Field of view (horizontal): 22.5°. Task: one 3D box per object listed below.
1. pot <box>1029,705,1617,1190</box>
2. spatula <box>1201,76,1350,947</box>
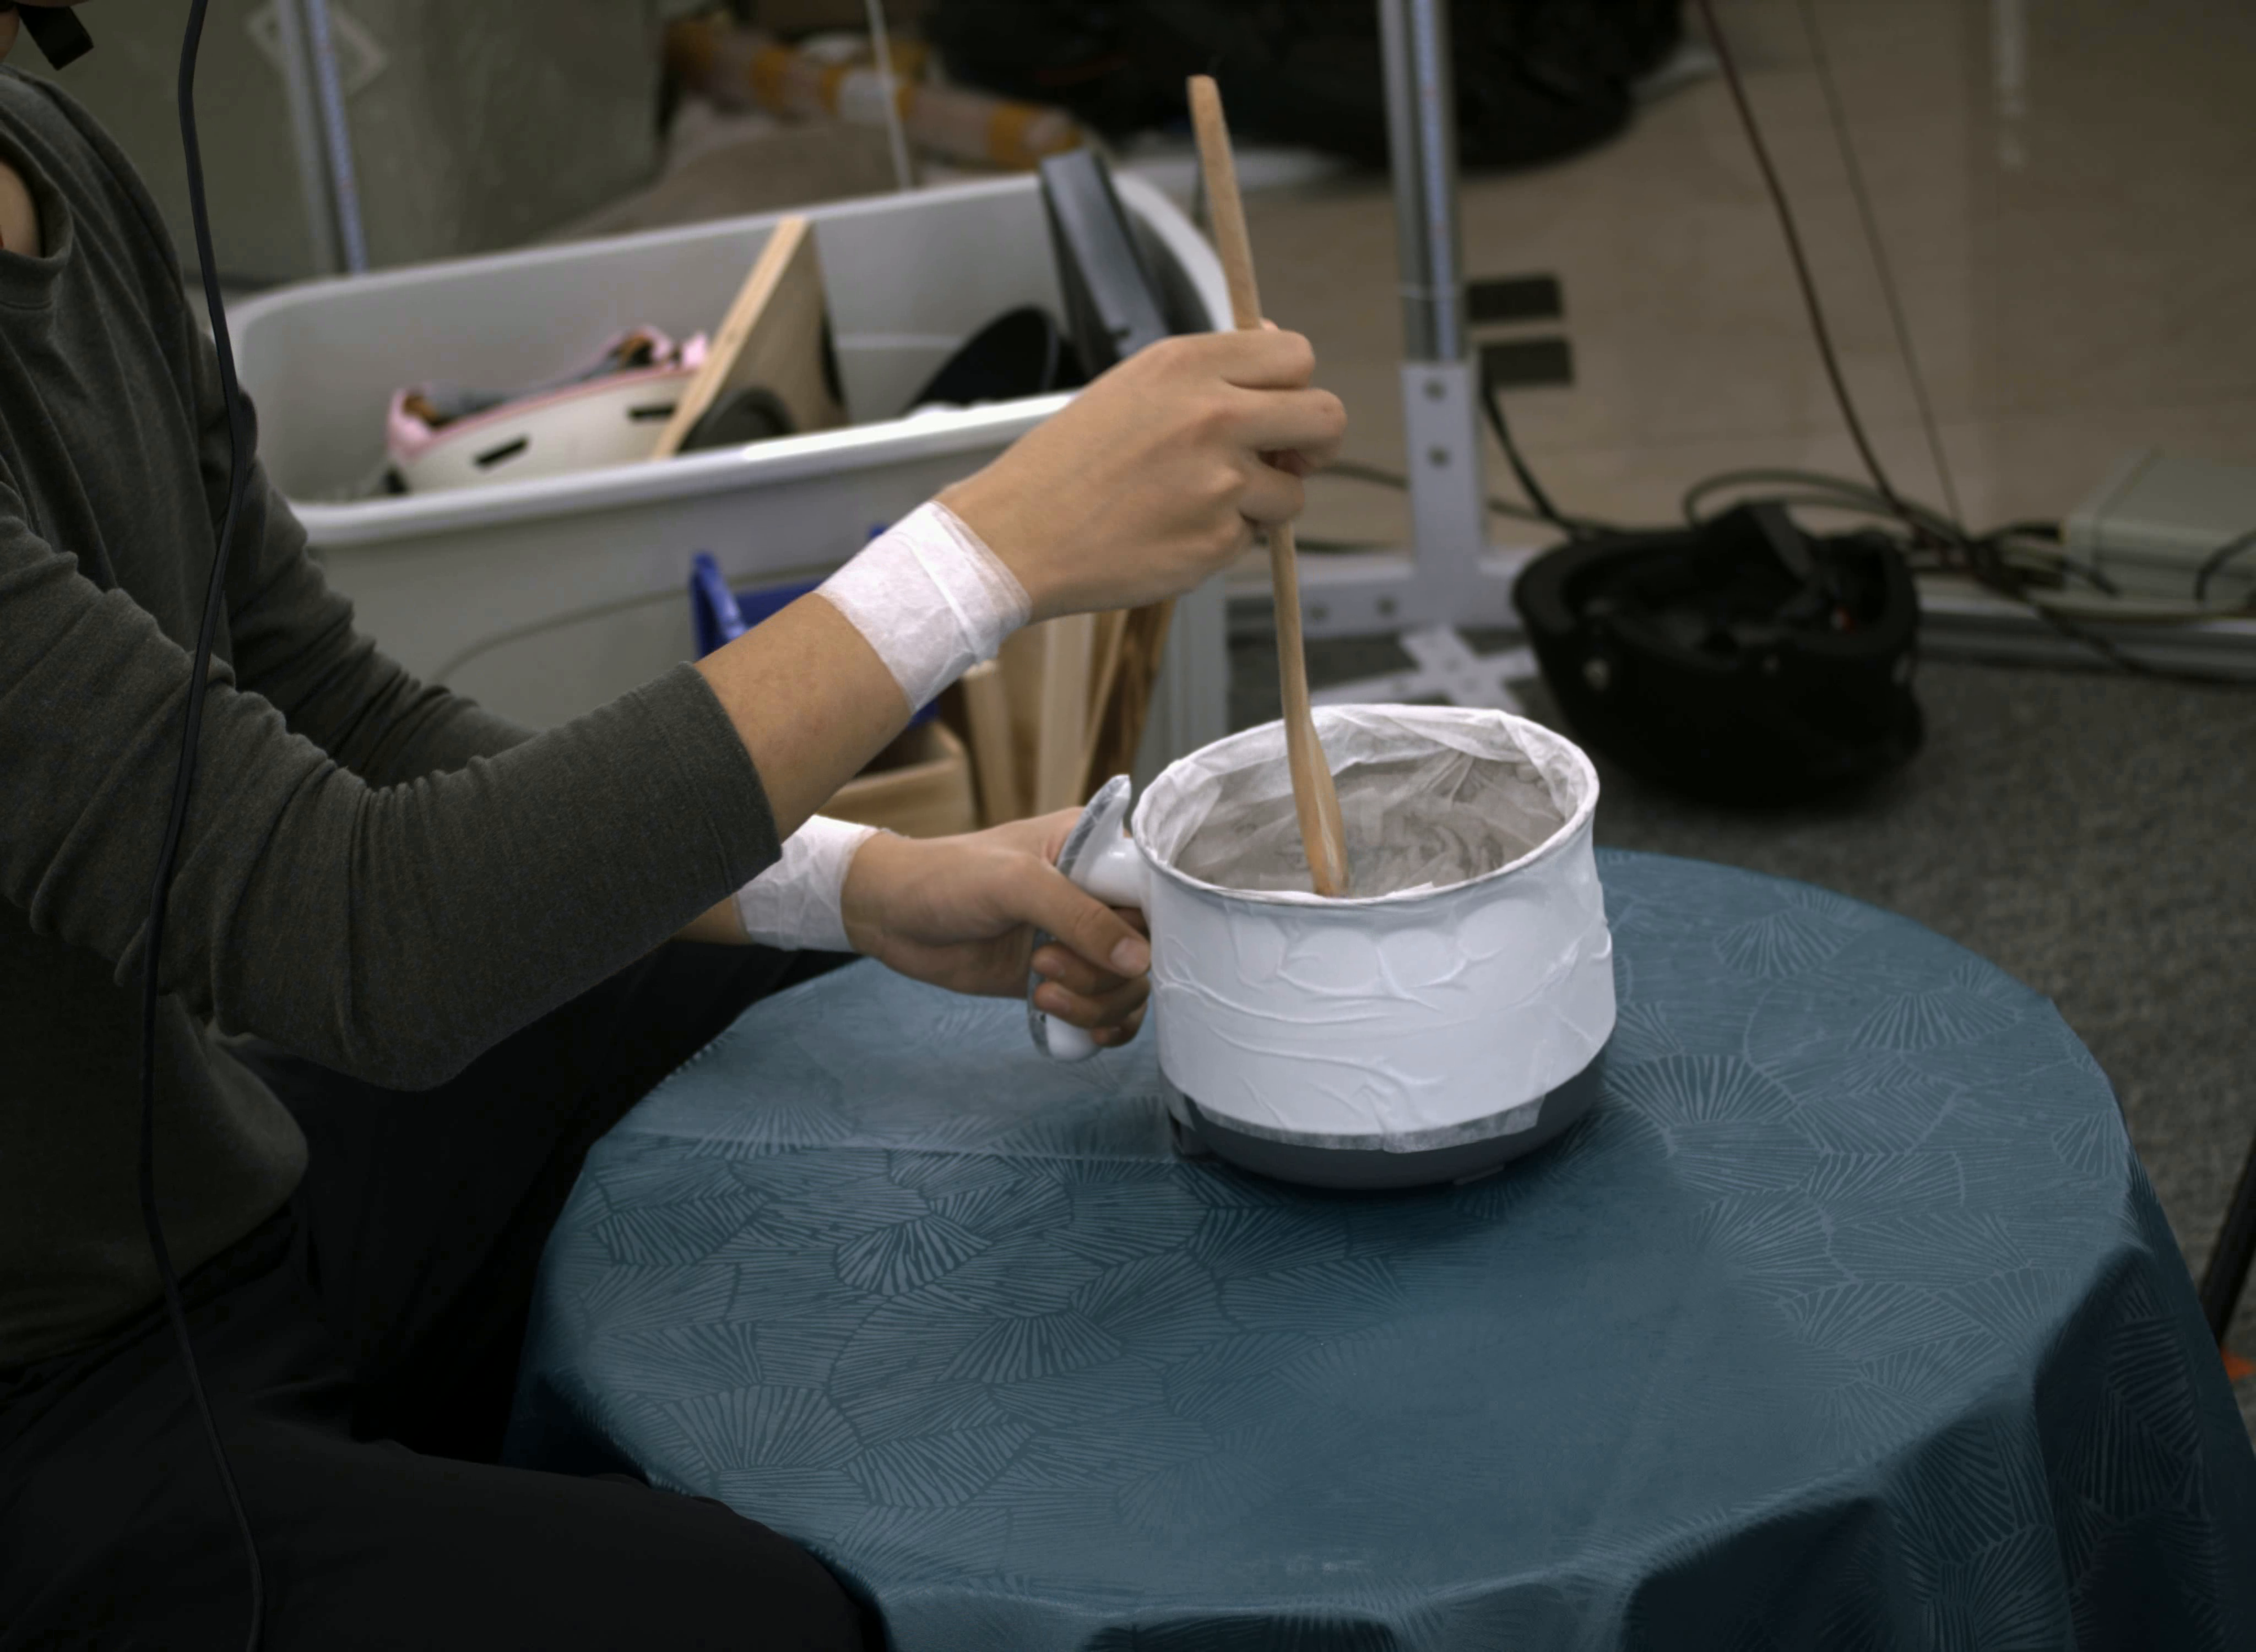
[{"bbox_3d":[0.070,0.047,2.169,0.233,0.139,0.176,2,26,19],"label":"pot"},{"bbox_3d":[0.056,-0.098,2.021,0.018,0.398,0.094,-8,40,1],"label":"spatula"}]
